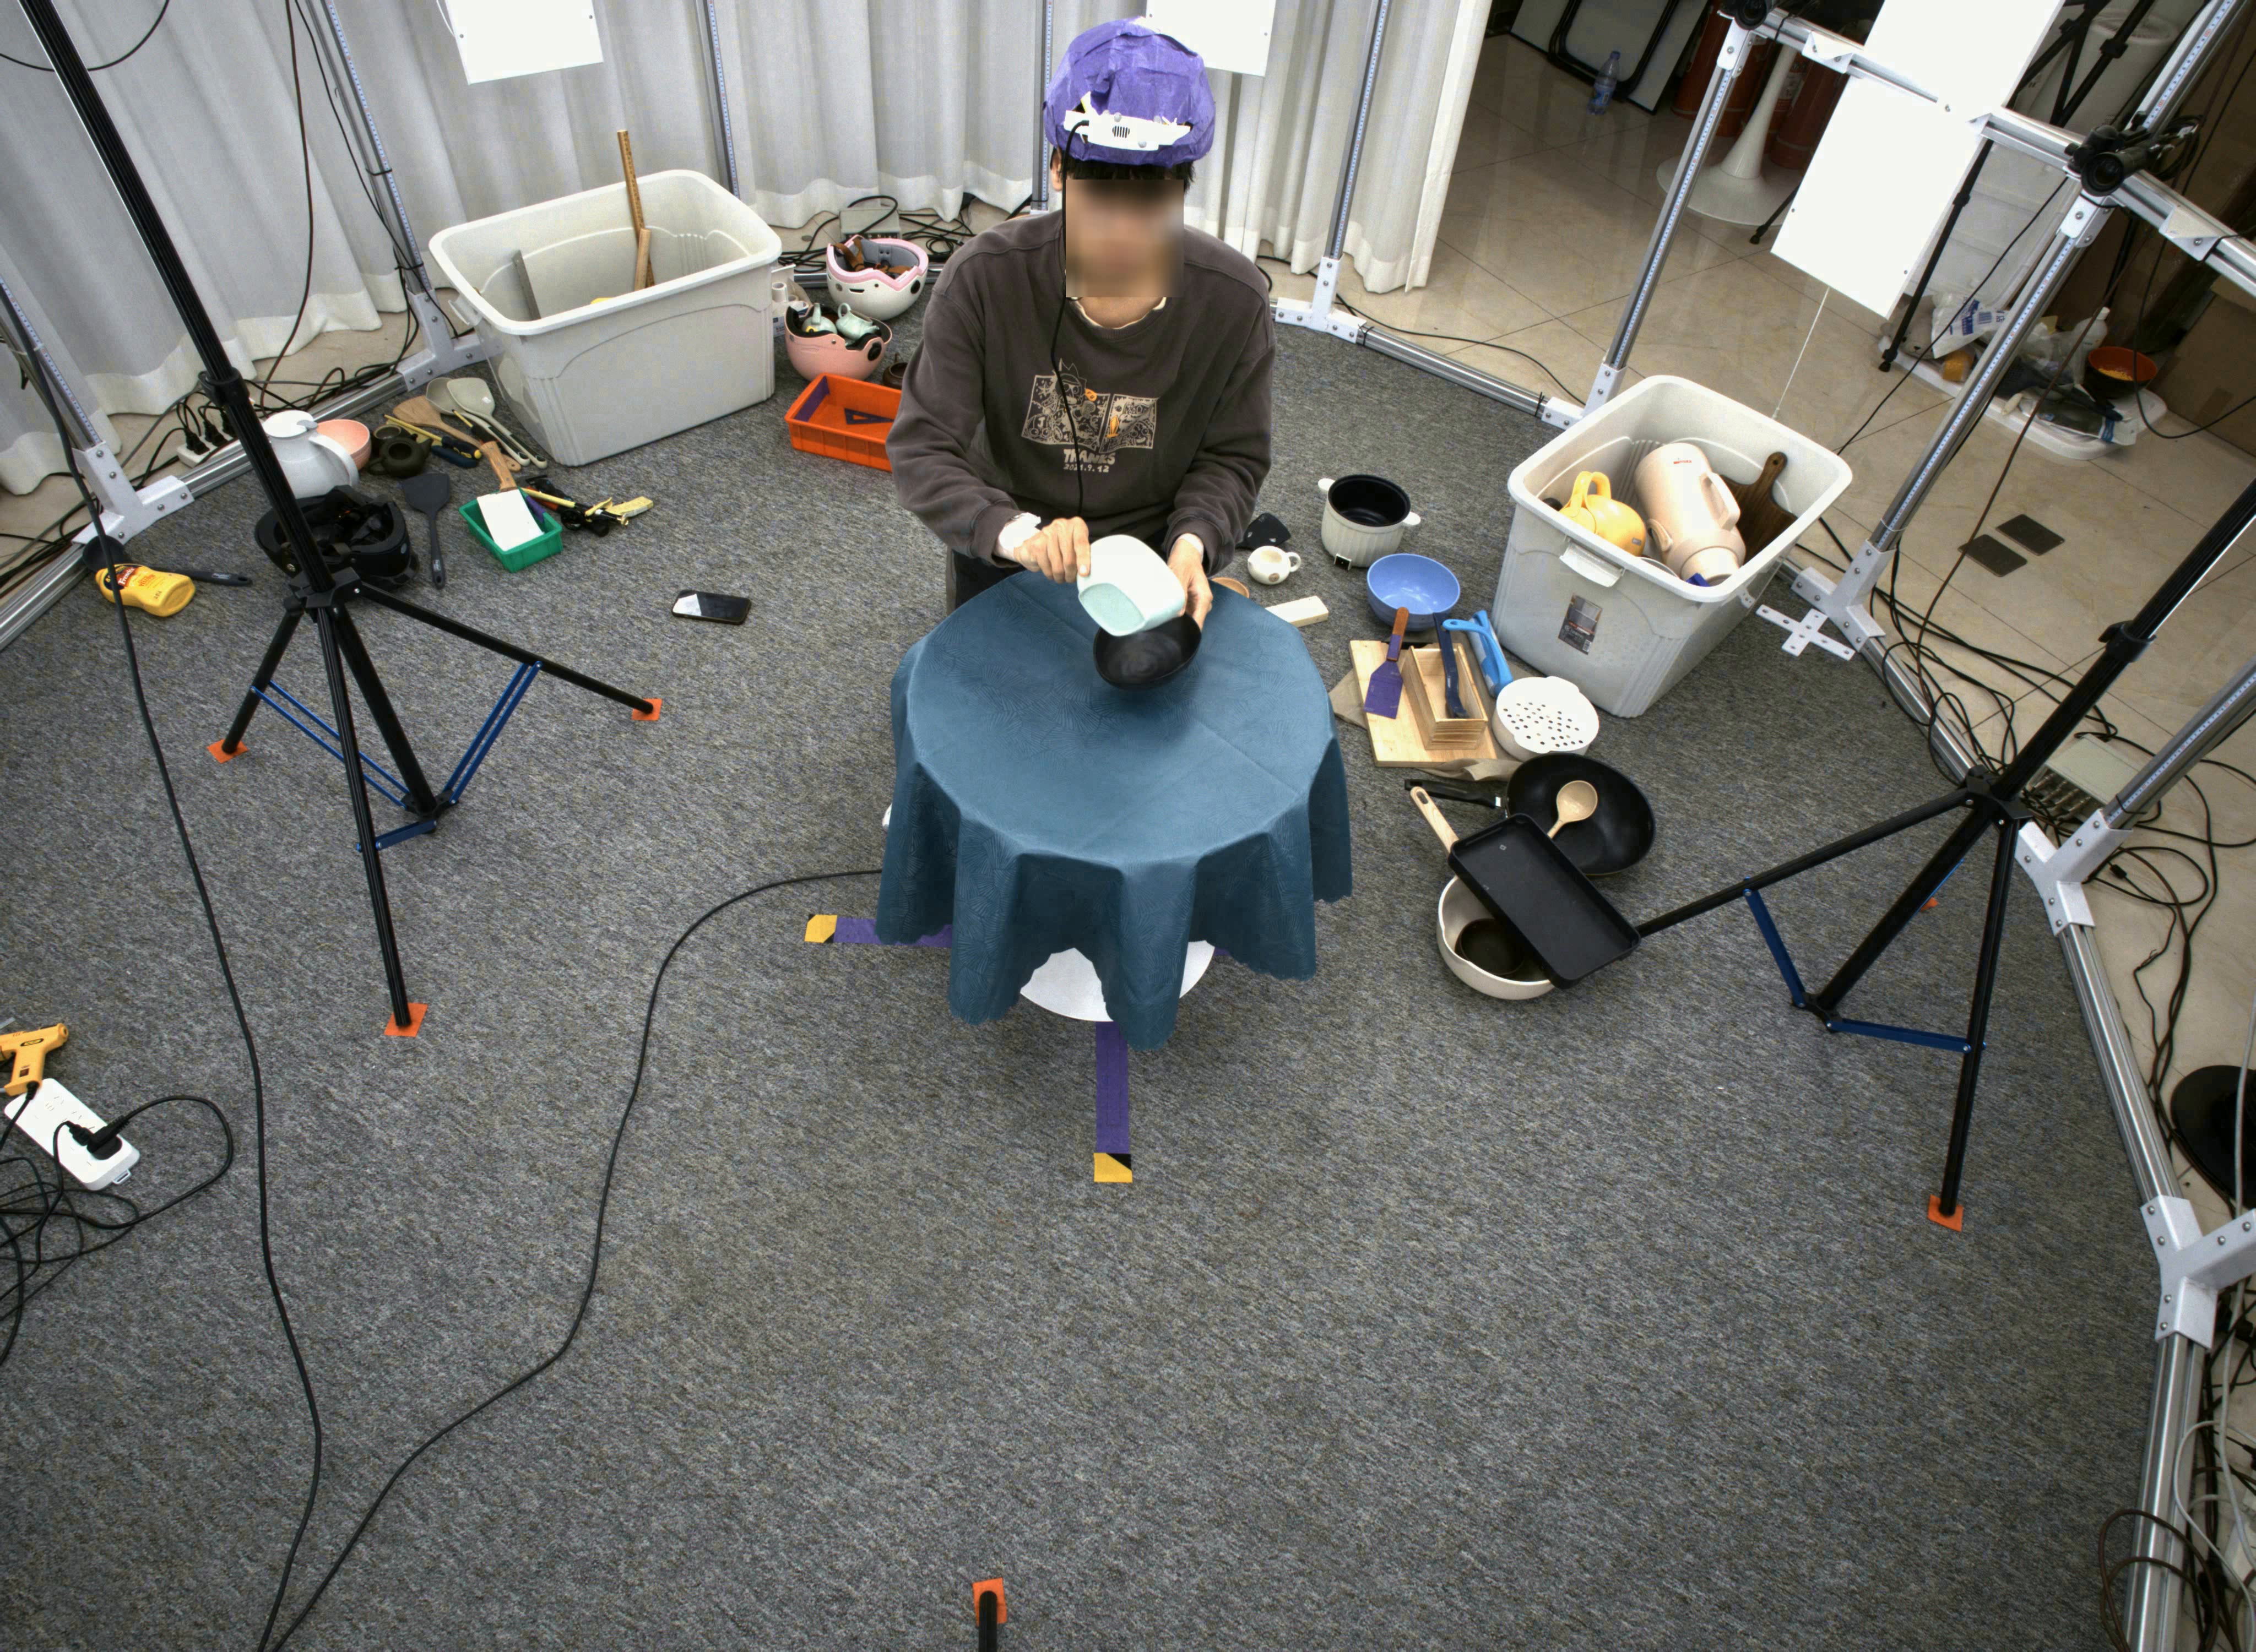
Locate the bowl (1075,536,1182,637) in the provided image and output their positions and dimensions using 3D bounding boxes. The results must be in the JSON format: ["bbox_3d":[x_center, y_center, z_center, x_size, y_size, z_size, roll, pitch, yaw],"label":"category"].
[{"bbox_3d":[-0.010,-0.293,1.636,0.152,0.148,0.059,25,59,17],"label":"bowl"}]

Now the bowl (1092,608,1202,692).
[{"bbox_3d":[0.025,-0.239,1.794,0.139,0.065,0.172,33,58,21],"label":"bowl"}]
